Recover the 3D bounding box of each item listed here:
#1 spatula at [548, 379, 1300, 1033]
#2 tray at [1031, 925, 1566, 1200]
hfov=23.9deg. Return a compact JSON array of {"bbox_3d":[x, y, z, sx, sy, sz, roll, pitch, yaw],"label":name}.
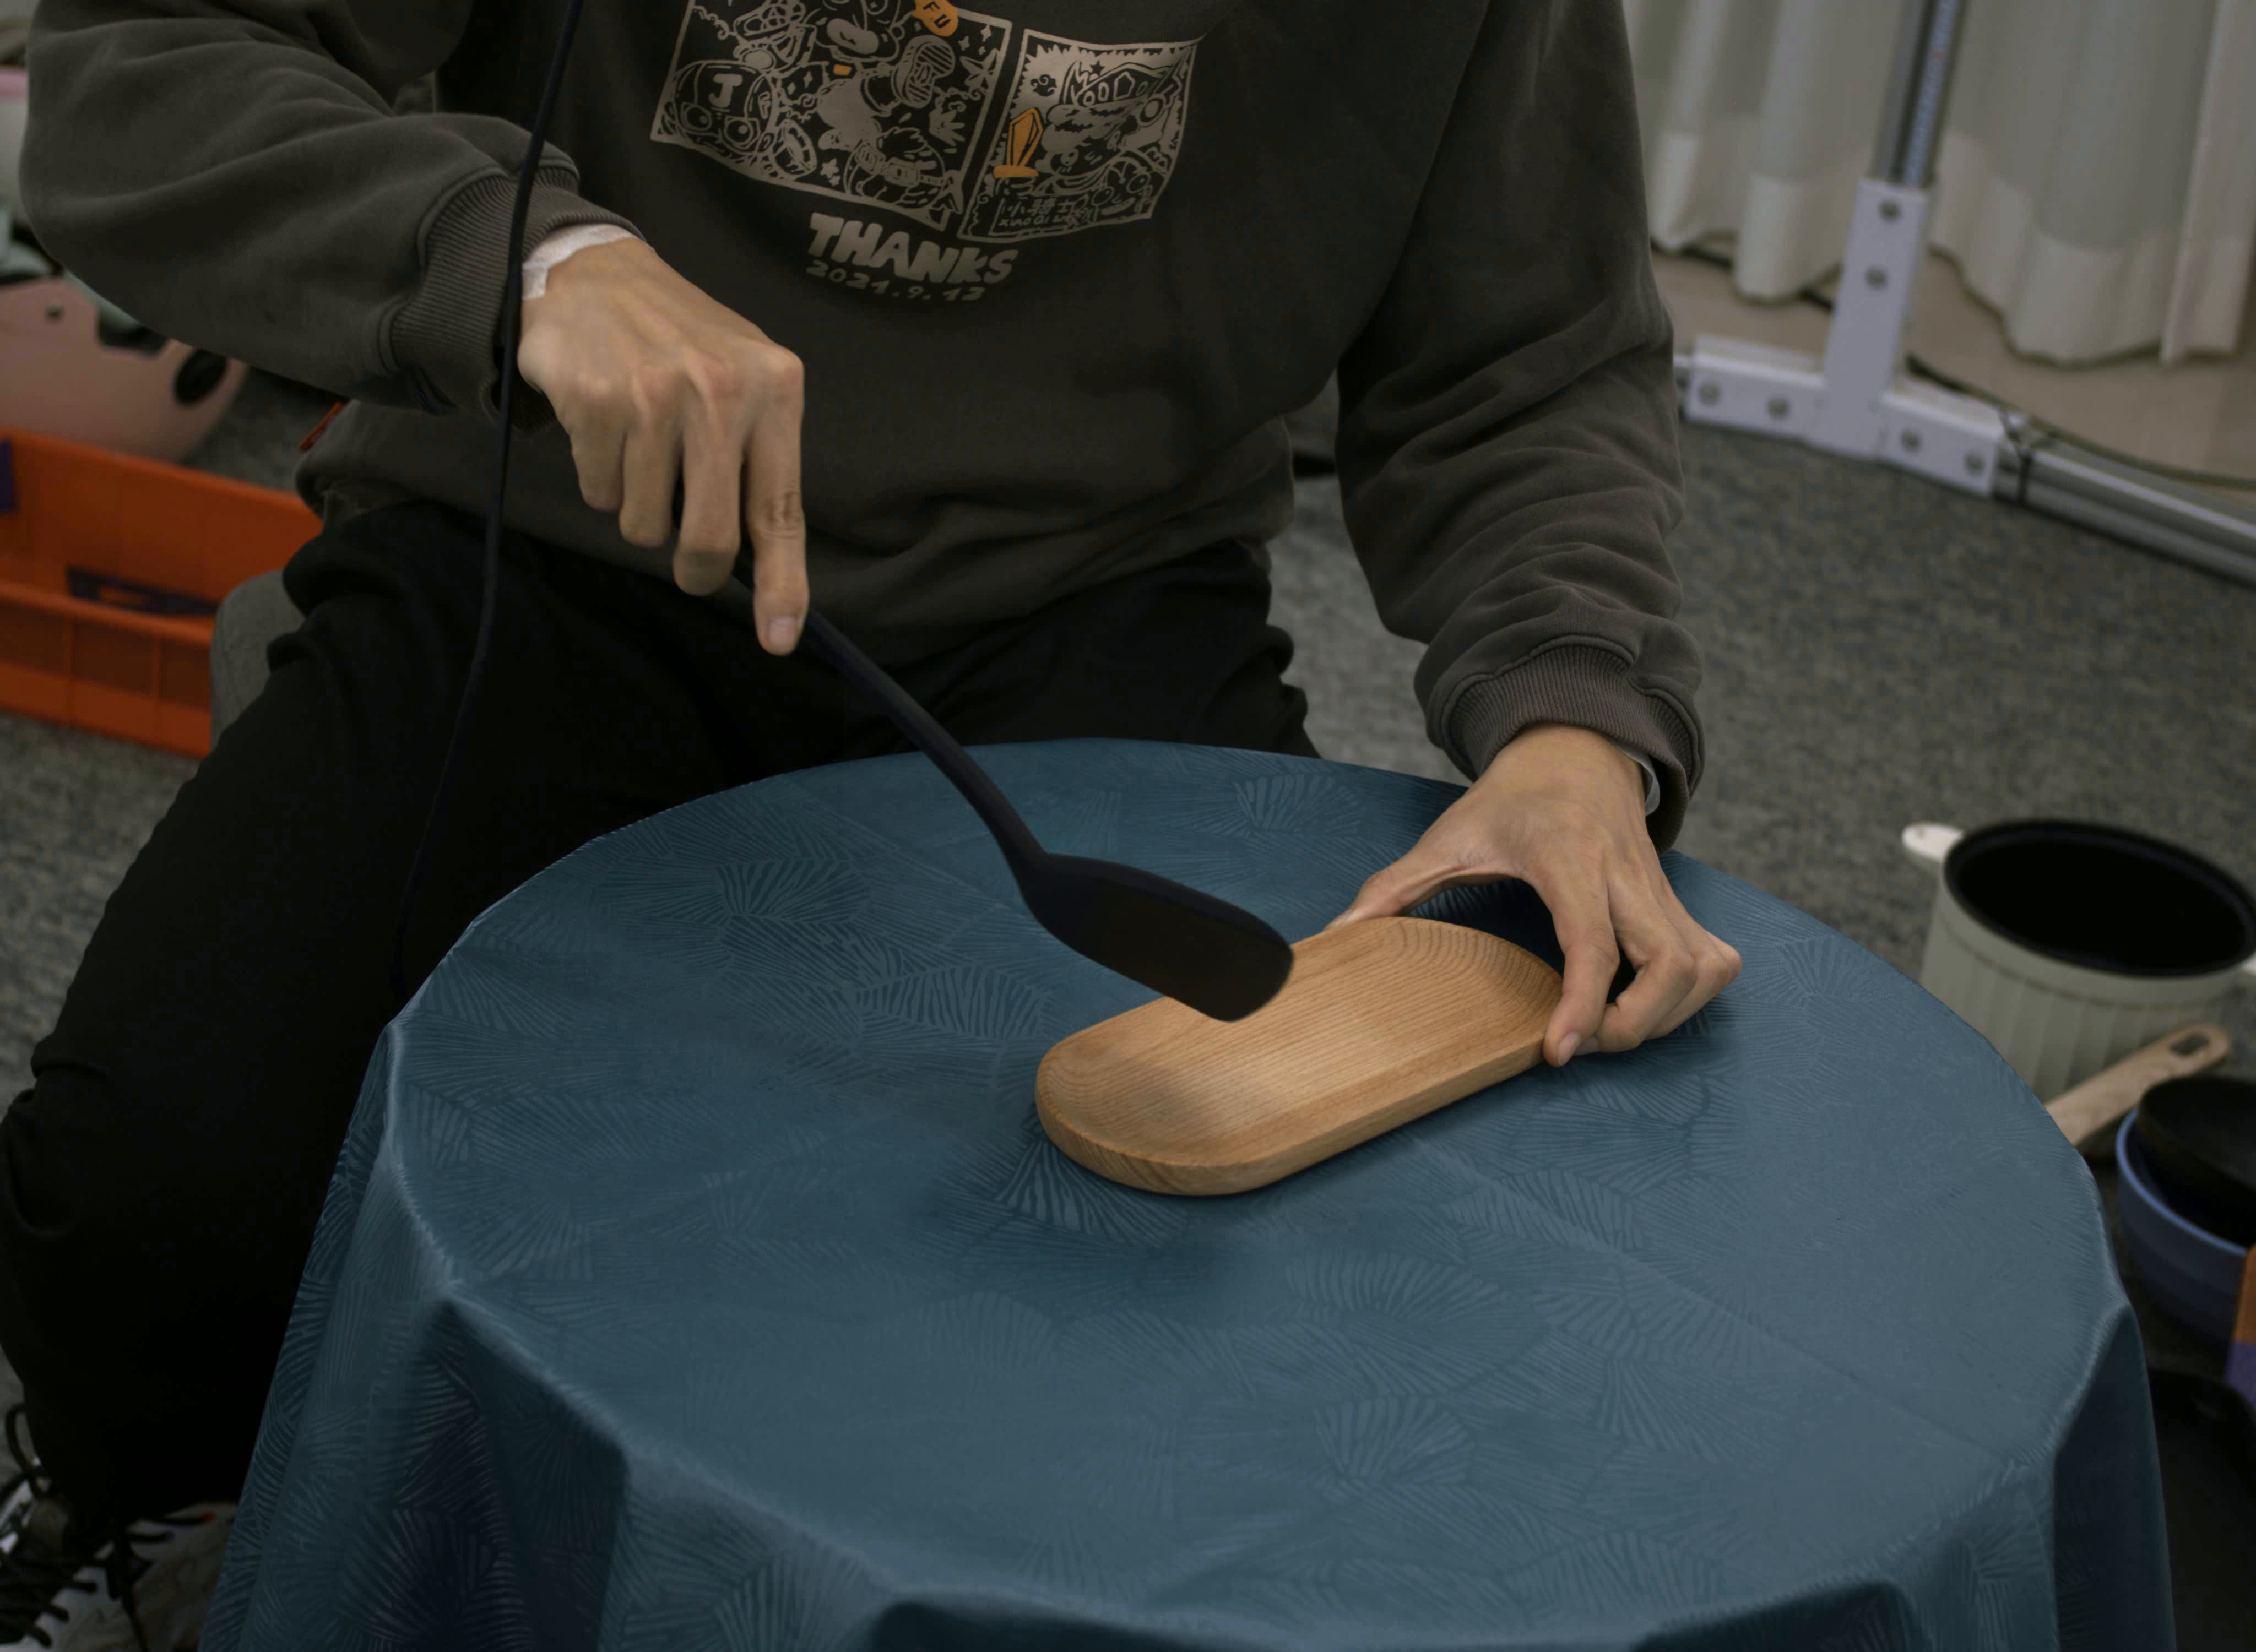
[{"bbox_3d":[-0.074,-0.045,1.810,0.327,0.099,0.040,46,66,6],"label":"spatula"},{"bbox_3d":[0.062,0.083,1.882,0.102,0.020,0.230,27,34,38],"label":"tray"}]
